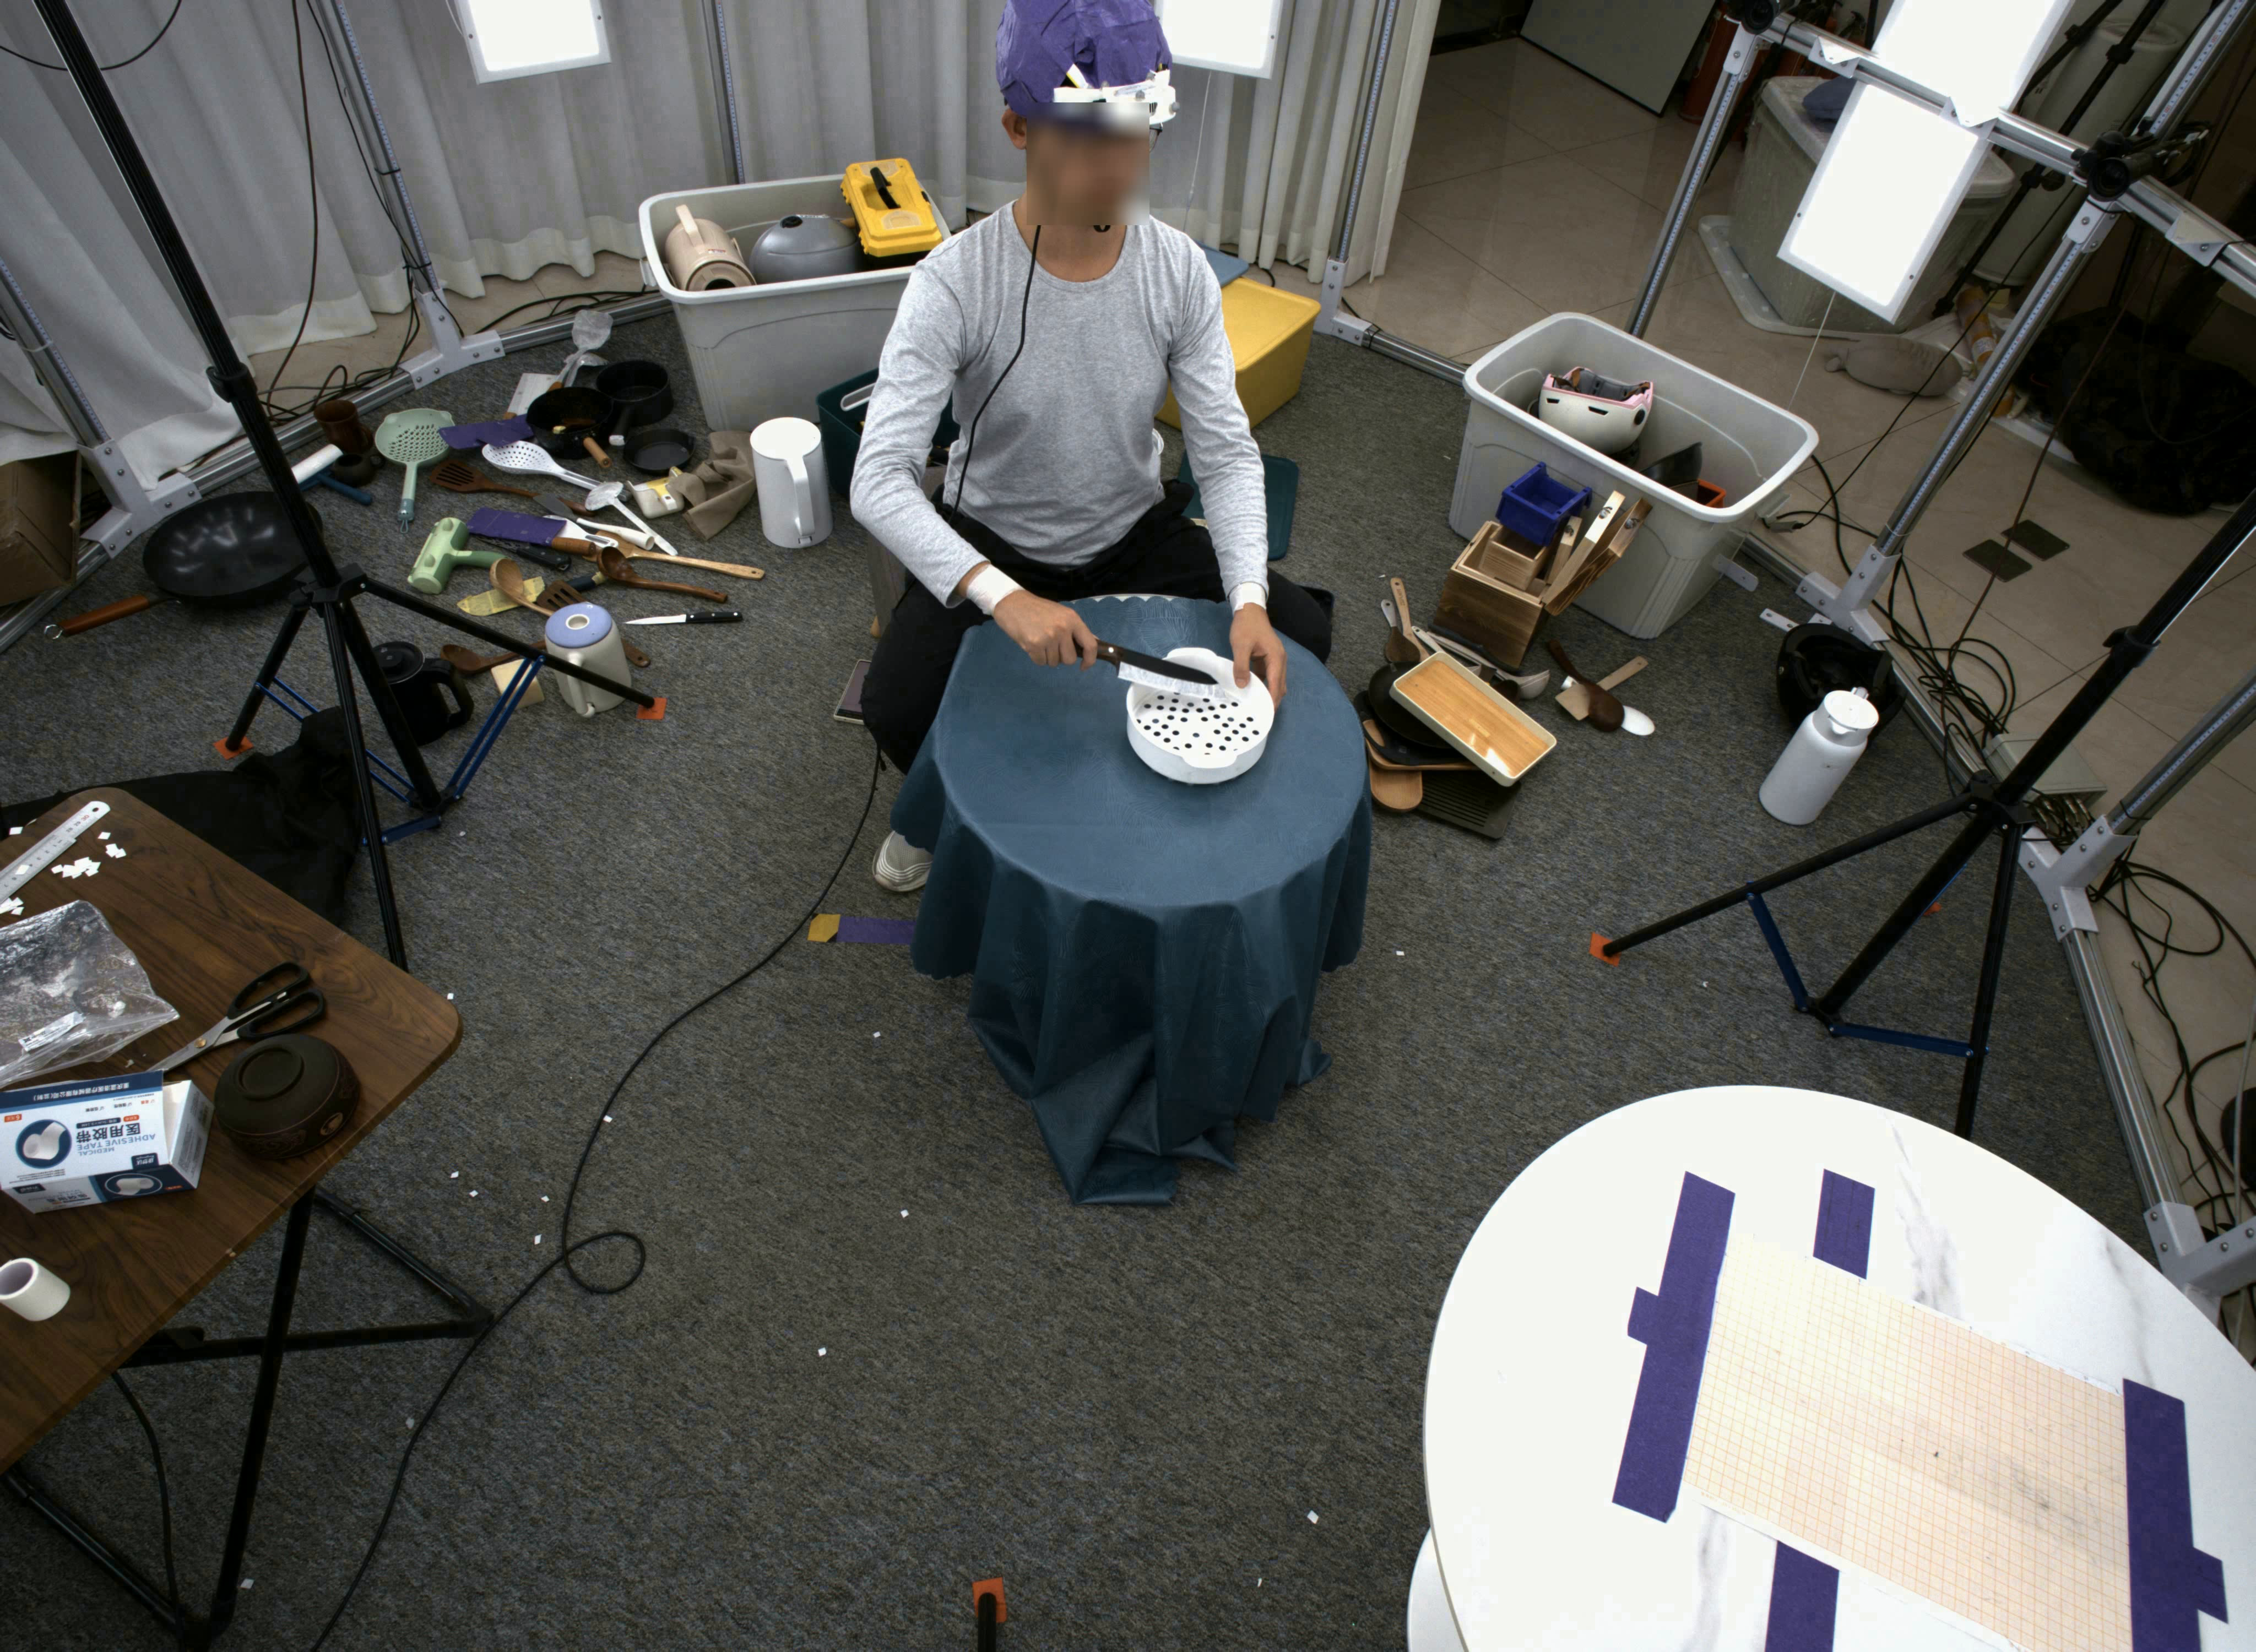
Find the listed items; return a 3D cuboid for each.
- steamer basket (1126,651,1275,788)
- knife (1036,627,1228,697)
[{"bbox_3d":[0.097,-0.142,1.754,0.201,0.067,0.236,-1,48,-5],"label":"steamer basket"},{"bbox_3d":[0.009,-0.221,1.744,0.287,0.020,0.051,15,73,-19],"label":"knife"}]
